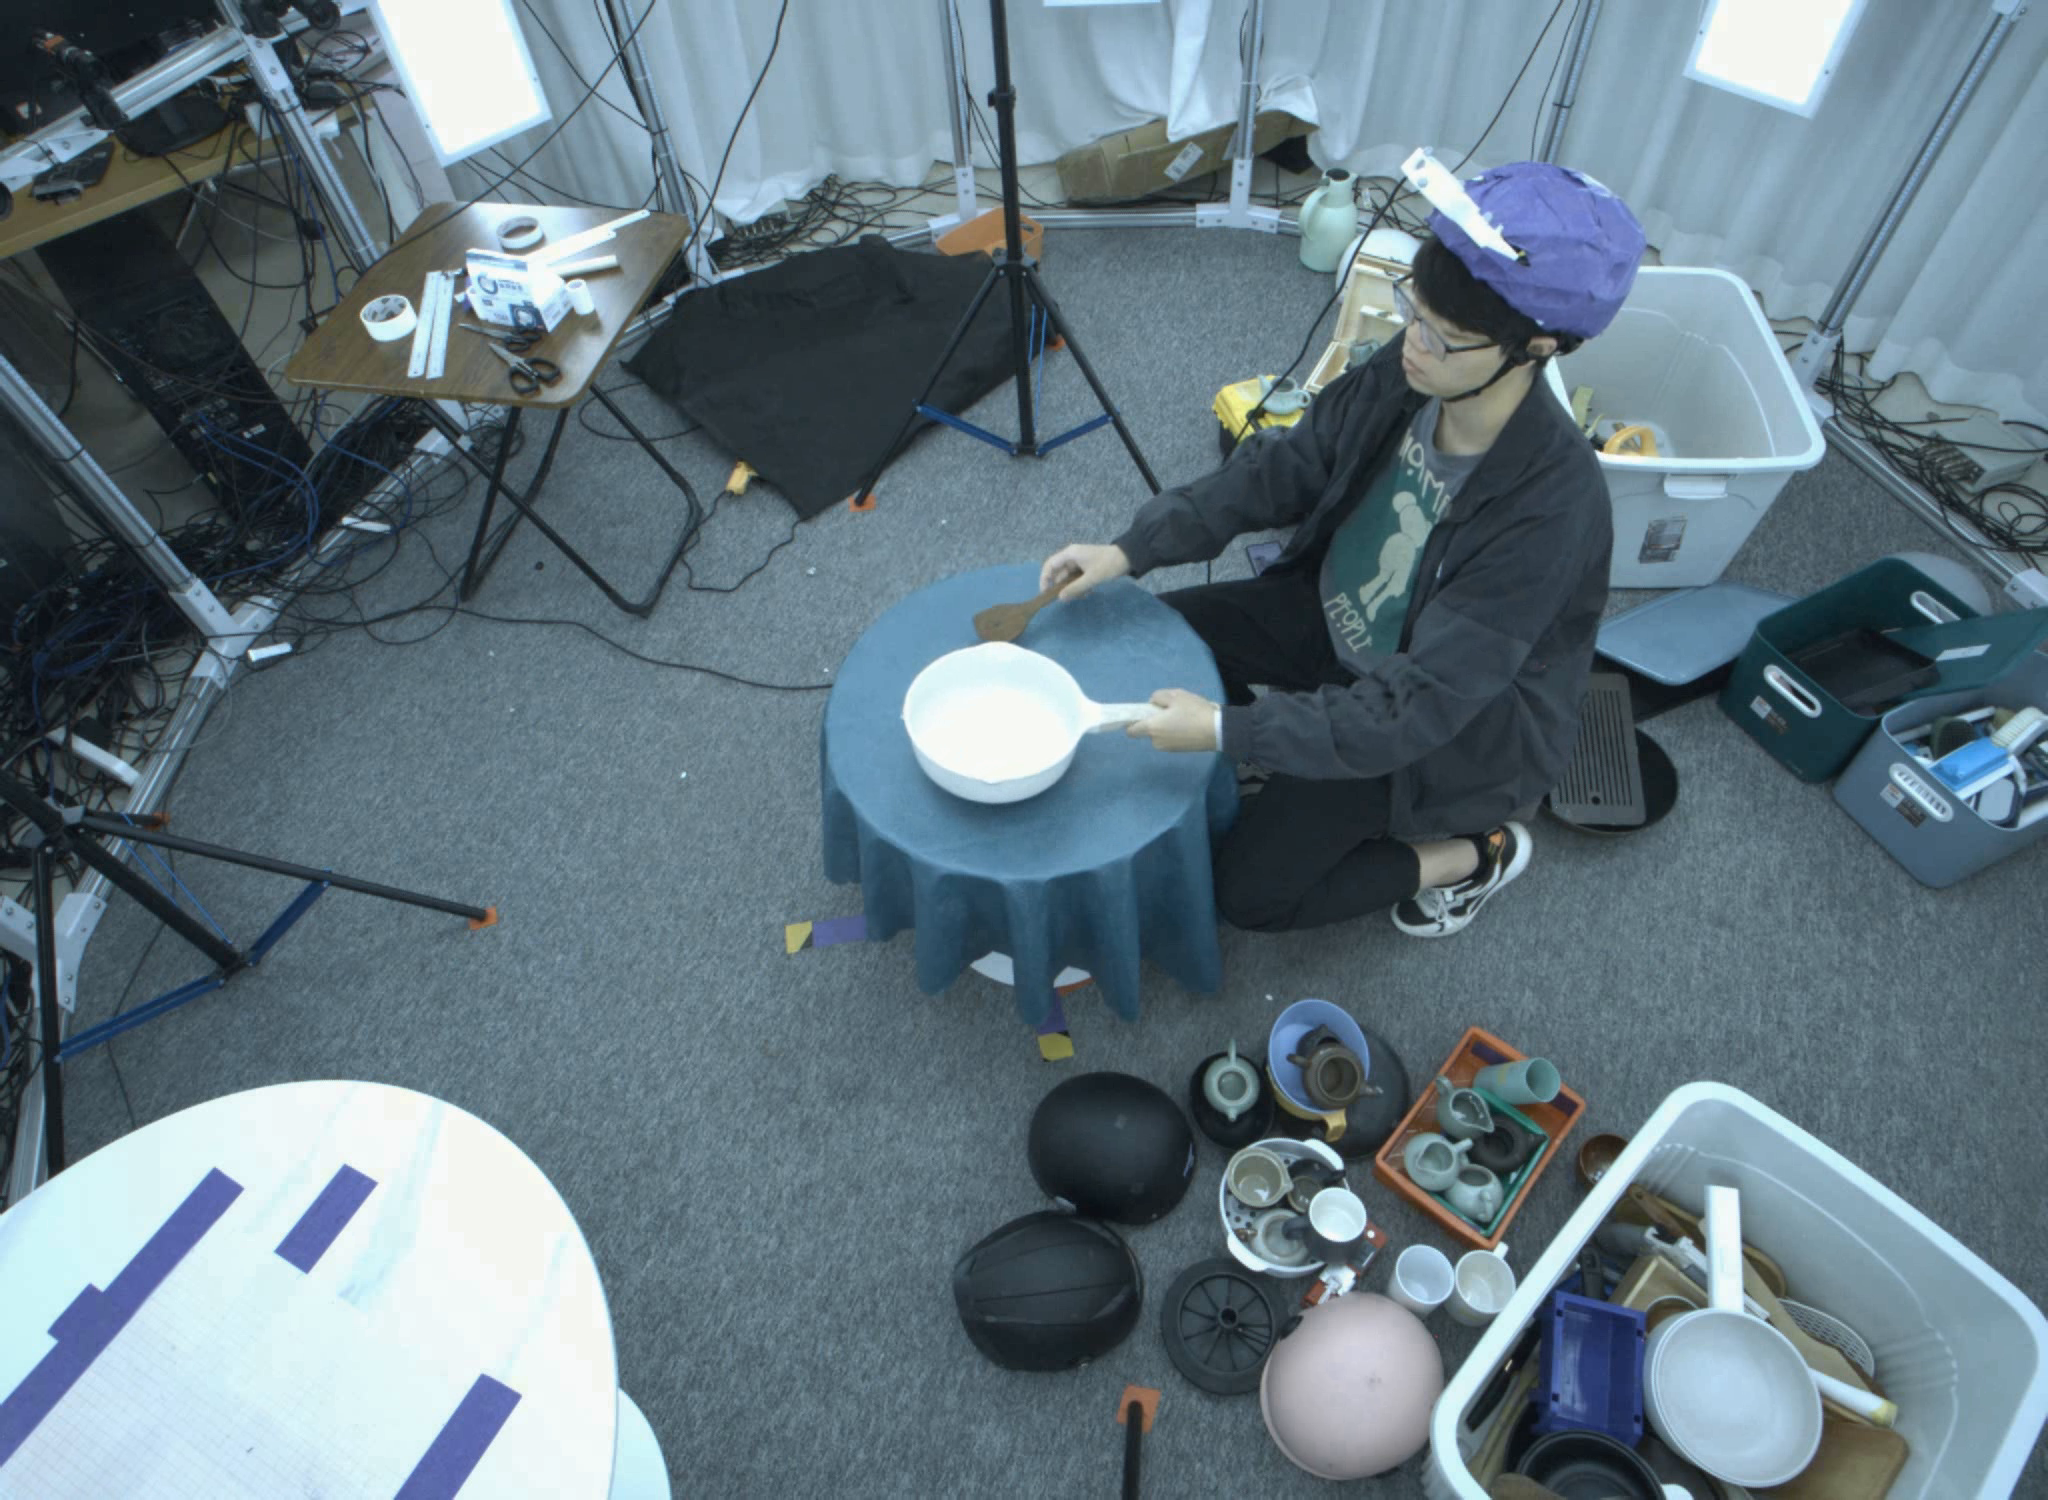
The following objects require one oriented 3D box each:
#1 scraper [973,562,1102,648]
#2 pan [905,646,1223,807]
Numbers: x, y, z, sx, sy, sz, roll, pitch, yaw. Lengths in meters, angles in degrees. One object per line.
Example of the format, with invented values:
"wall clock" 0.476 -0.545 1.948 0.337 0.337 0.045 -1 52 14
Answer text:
"scraper" 0.024 -0.230 1.884 0.212 0.011 0.075 -30 68 -6
"pan" 0.054 -0.027 1.712 0.436 0.103 0.260 2 48 -3
